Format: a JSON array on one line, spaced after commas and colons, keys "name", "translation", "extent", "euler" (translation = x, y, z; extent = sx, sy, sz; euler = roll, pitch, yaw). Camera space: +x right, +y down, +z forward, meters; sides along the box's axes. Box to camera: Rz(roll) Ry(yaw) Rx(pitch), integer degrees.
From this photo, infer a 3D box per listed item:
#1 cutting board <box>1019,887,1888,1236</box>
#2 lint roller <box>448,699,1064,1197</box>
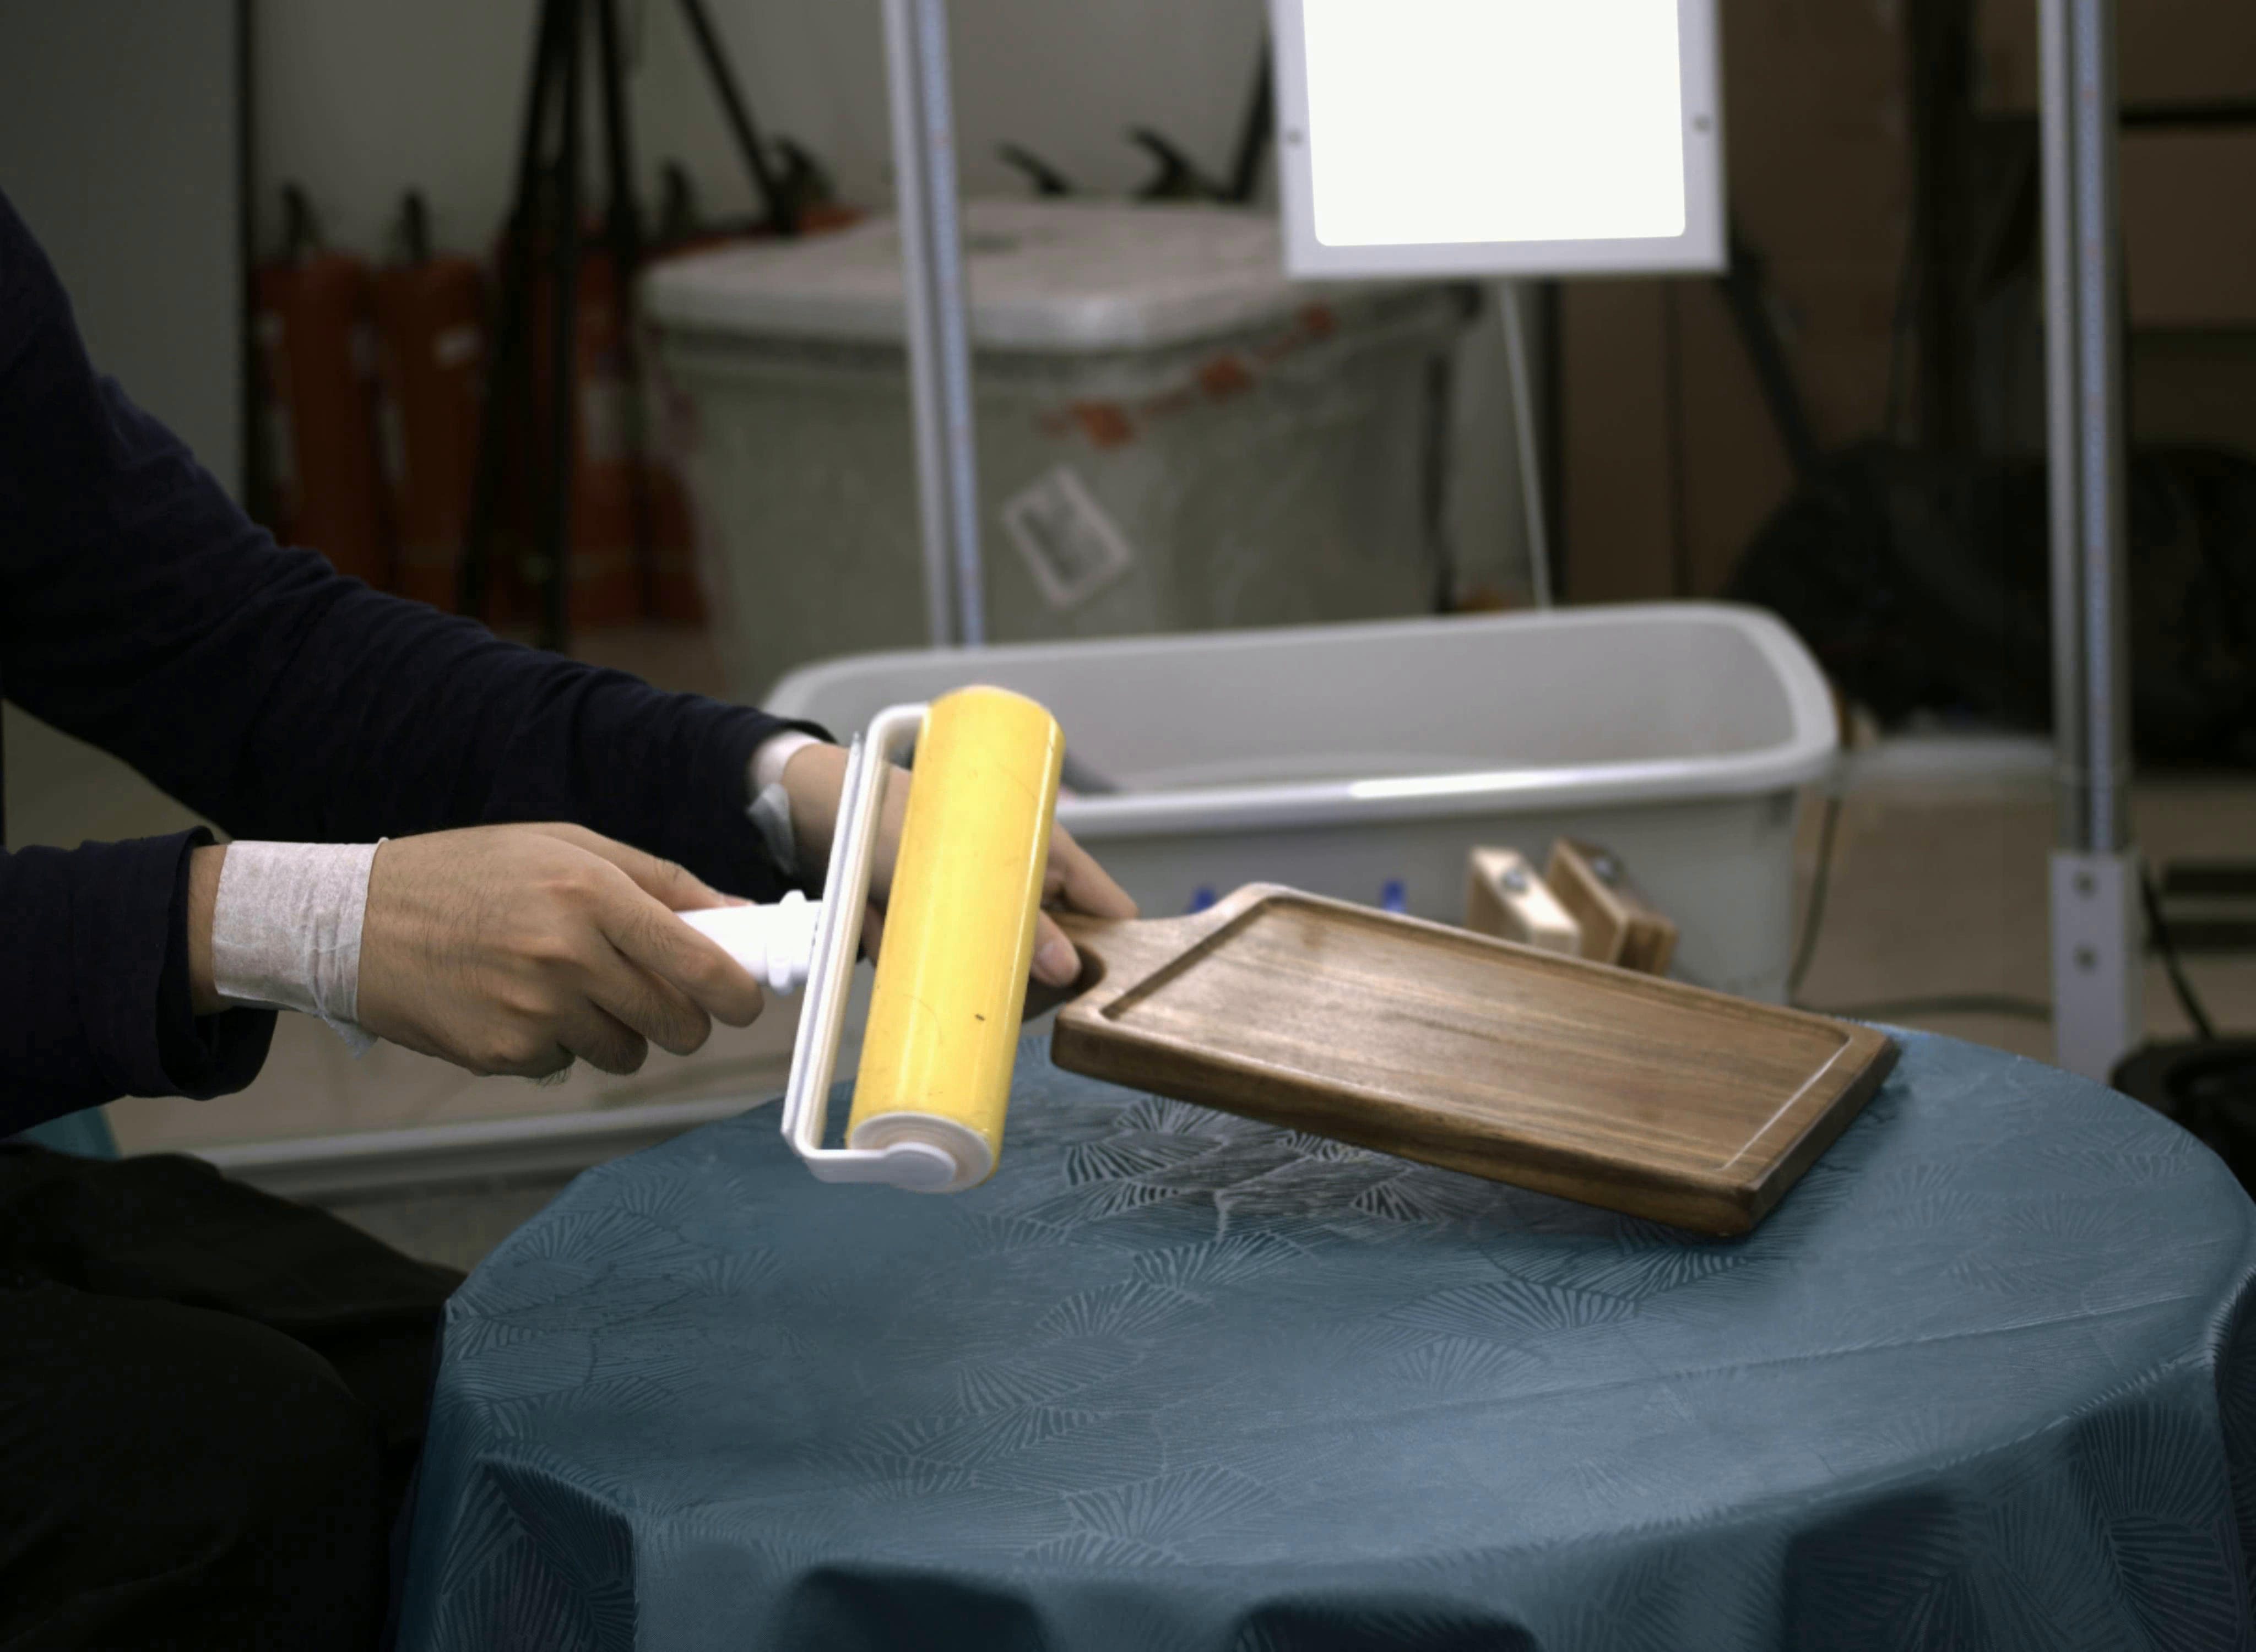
[{"name": "cutting board", "translation": [0.078, 0.068, 1.928], "extent": [0.357, 0.023, 0.197], "euler": [12, 18, 21]}, {"name": "lint roller", "translation": [-0.123, 0.036, 1.728], "extent": [0.193, 0.051, 0.173], "euler": [1, 52, 10]}]
